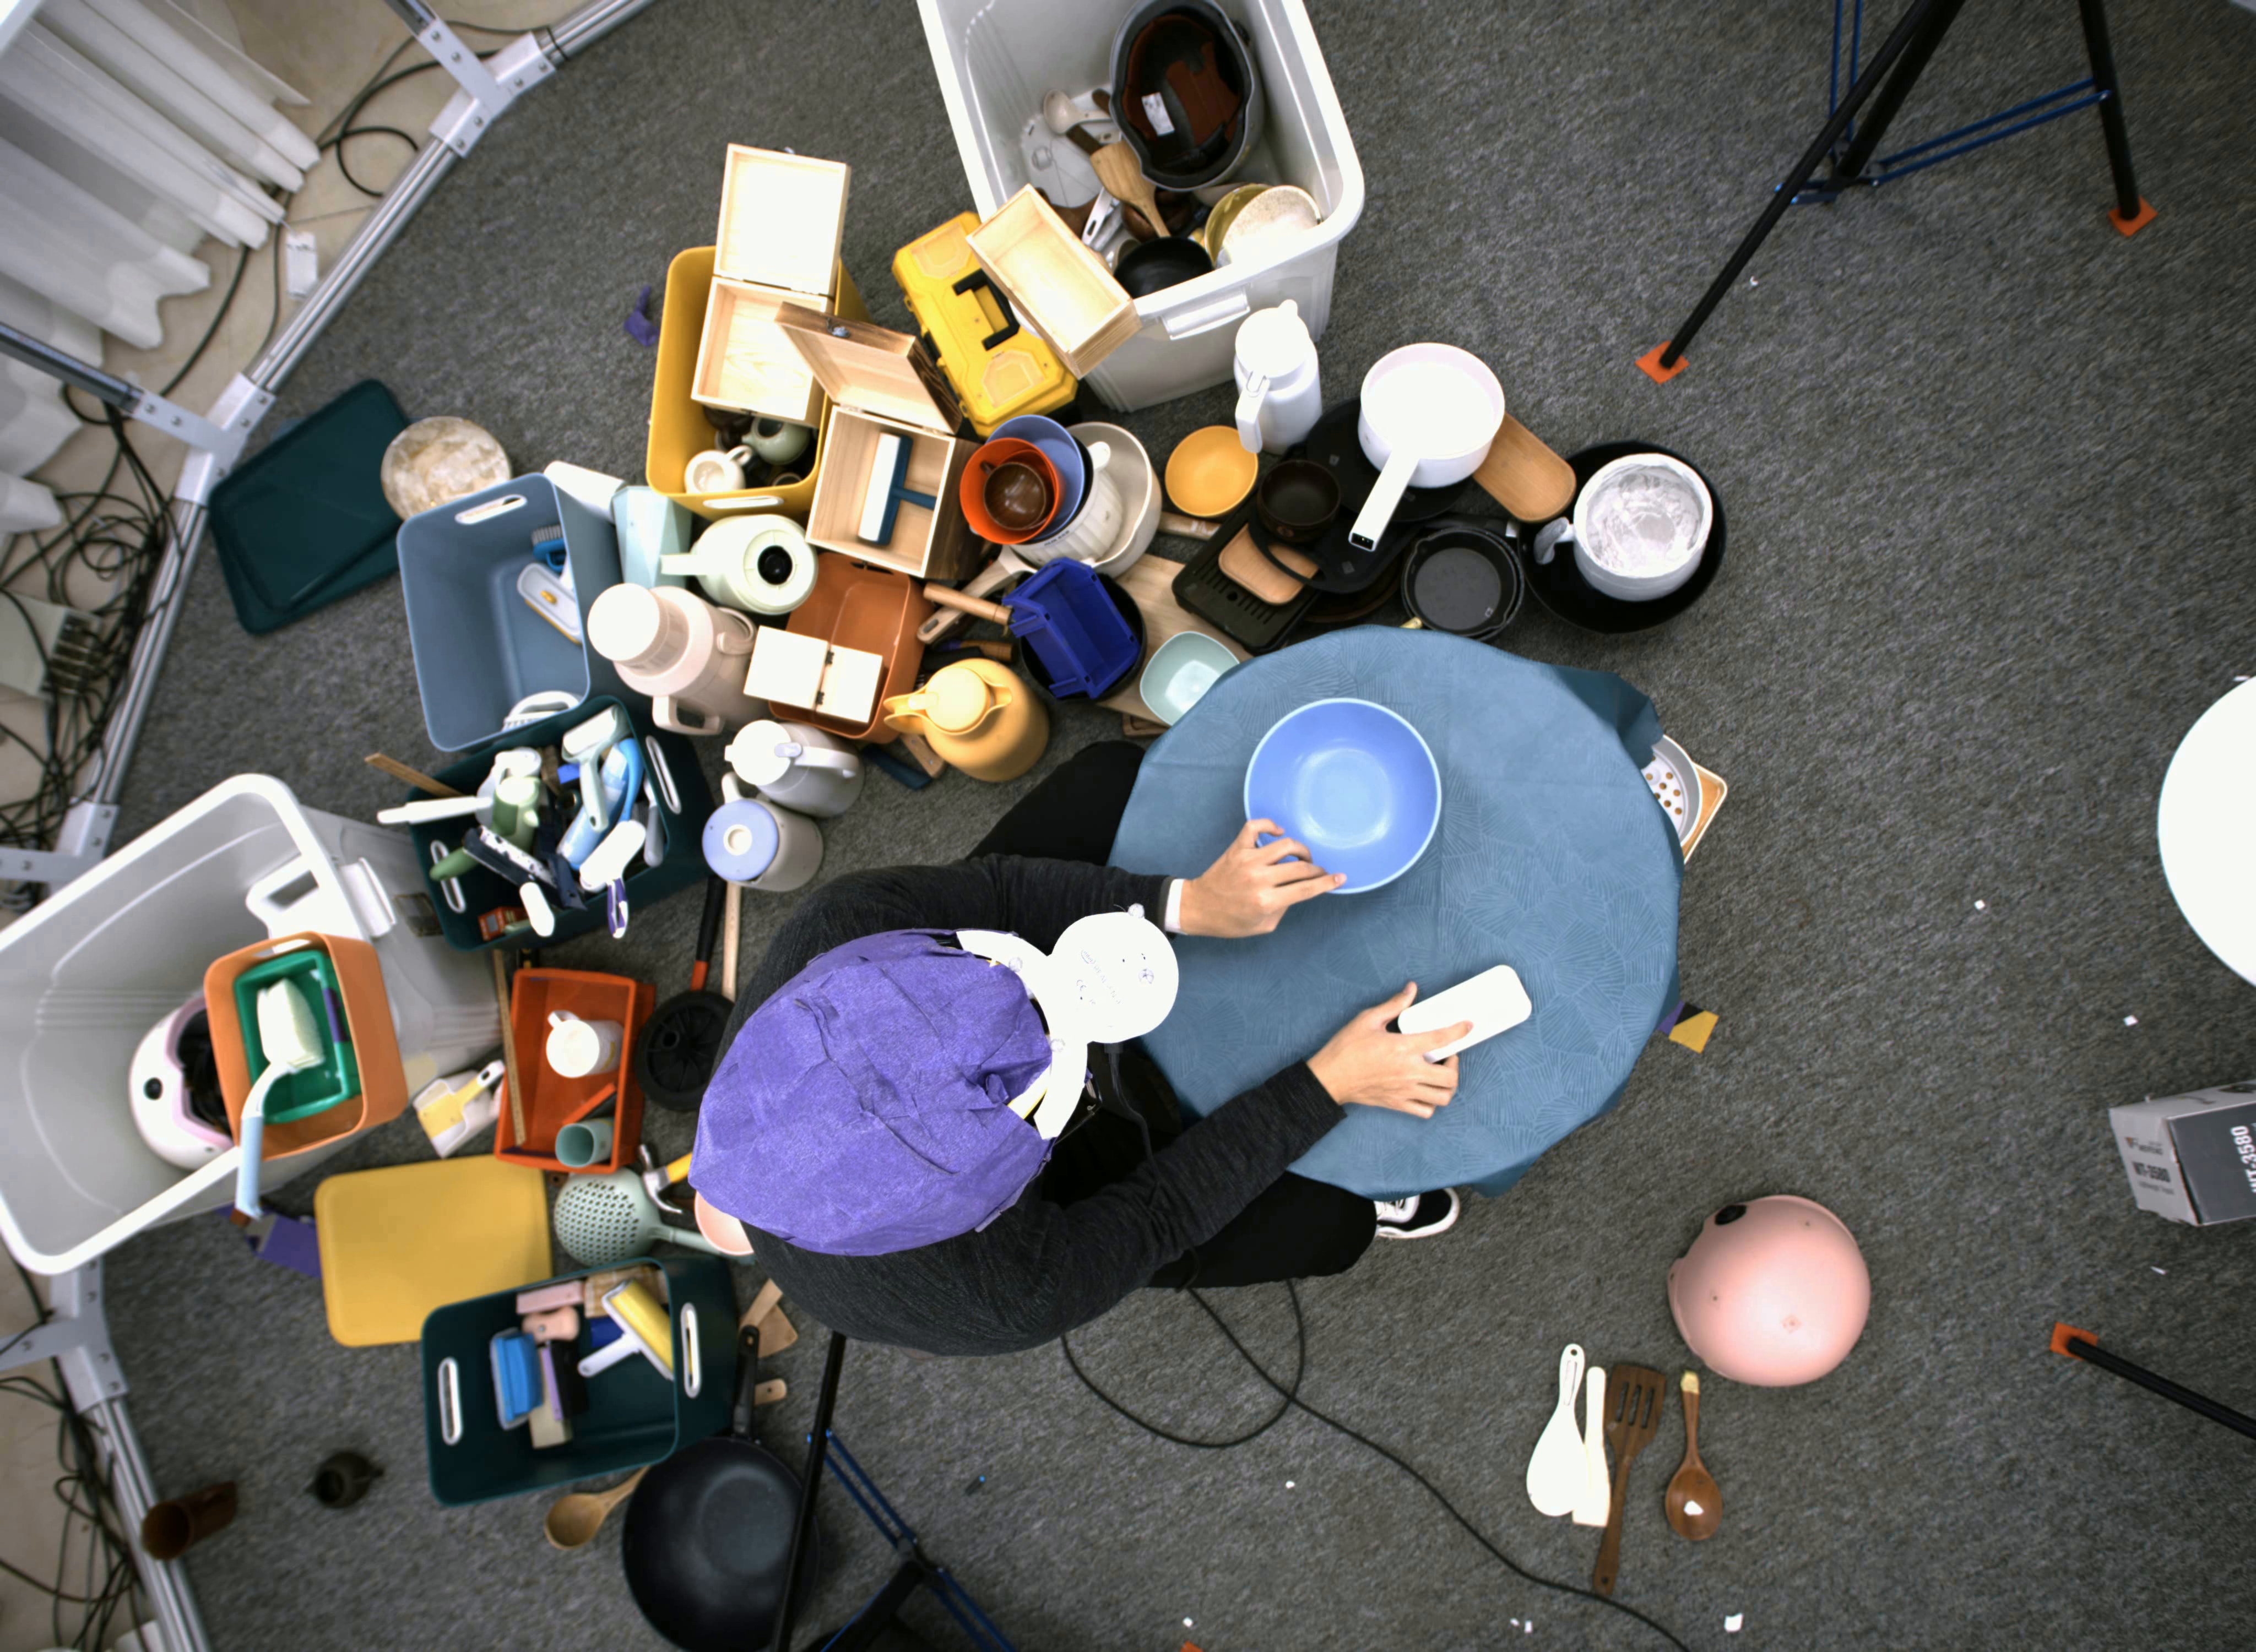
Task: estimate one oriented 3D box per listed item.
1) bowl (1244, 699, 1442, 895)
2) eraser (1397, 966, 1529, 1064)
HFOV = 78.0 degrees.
[{"bbox_3d":[0.221,-0.030,1.422,0.197,0.095,0.197,0,93,10],"label":"bowl"},{"bbox_3d":[0.345,0.192,1.424,0.132,0.034,0.063,-26,81,7],"label":"eraser"}]
